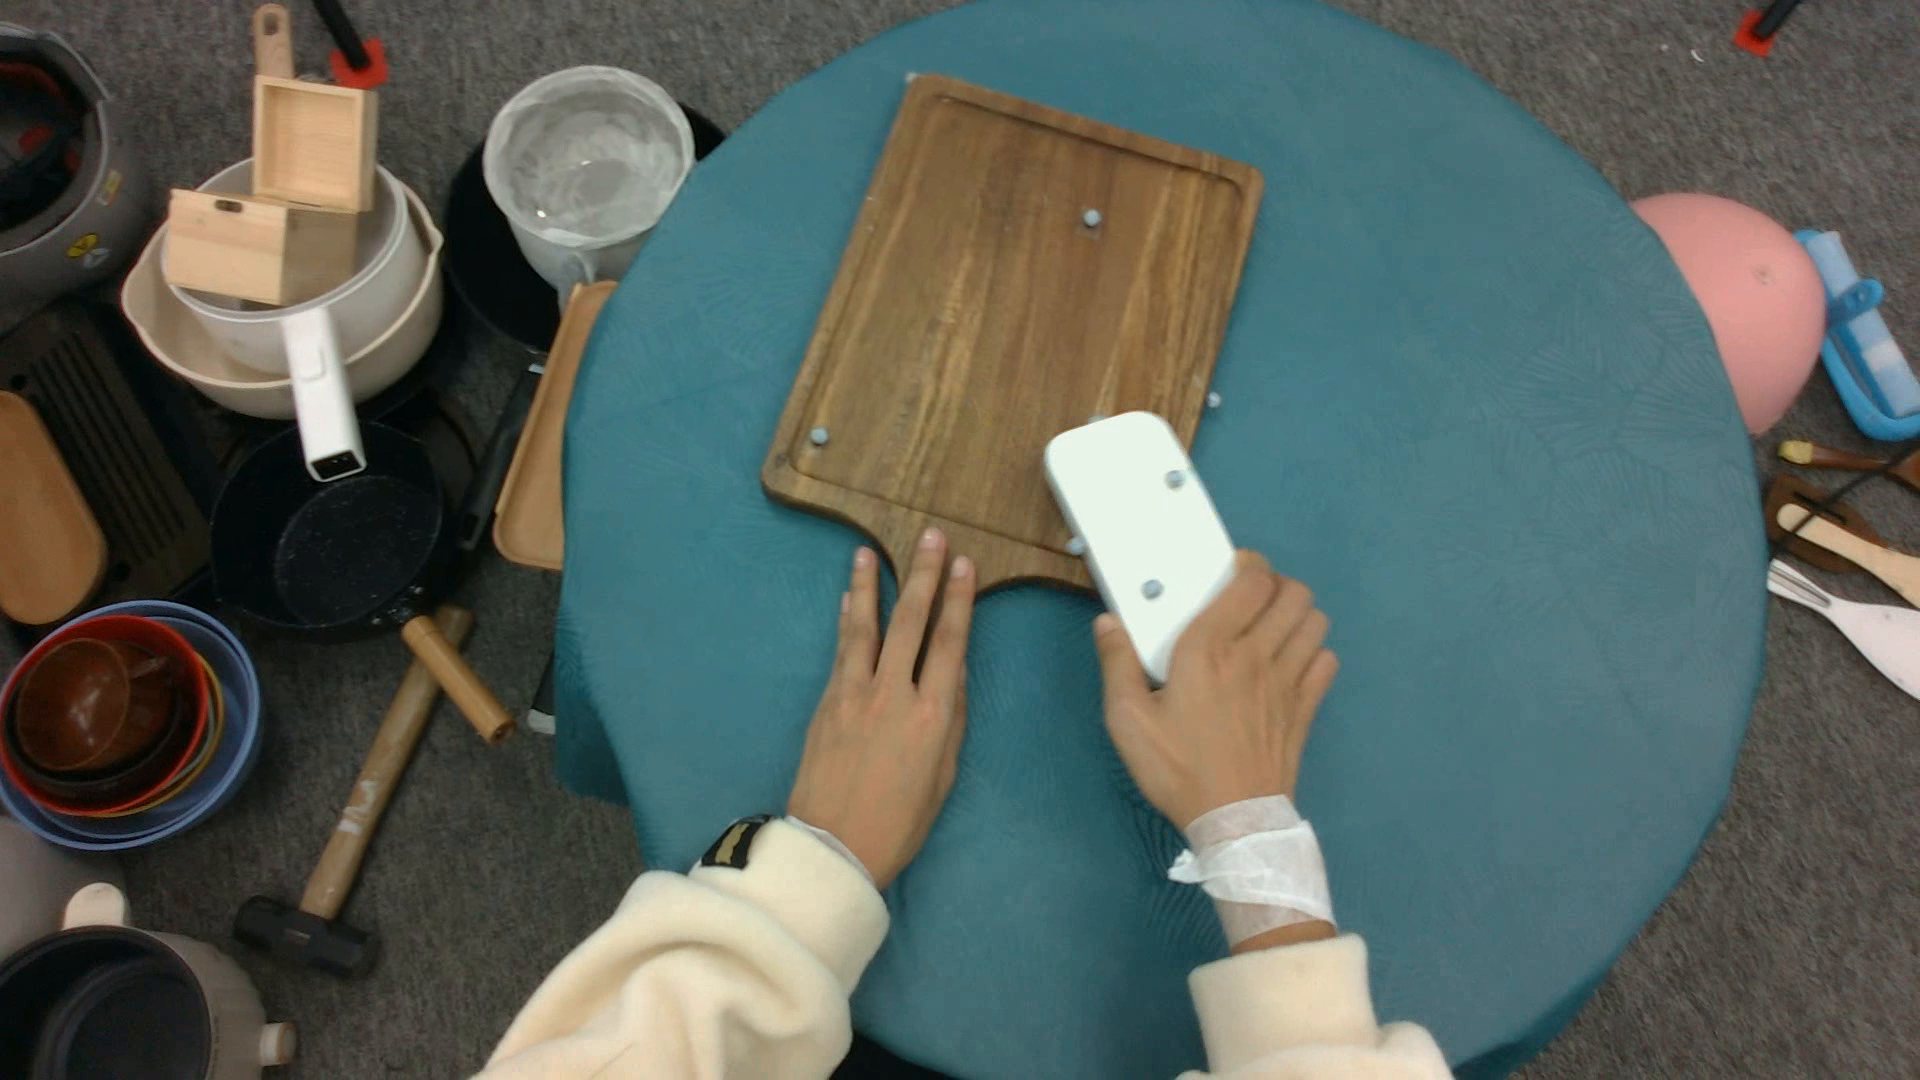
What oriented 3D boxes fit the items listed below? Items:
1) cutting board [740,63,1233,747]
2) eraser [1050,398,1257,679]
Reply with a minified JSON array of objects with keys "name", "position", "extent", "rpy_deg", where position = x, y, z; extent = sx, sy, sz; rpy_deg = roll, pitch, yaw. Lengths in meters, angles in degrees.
[{"name":"cutting board","position":[0.006,-0.070,0.679],"extent":[0.201,0.023,0.353],"rpy_deg":[16,71,2]},{"name":"eraser","position":[0.086,-0.002,0.634],"extent":[0.063,0.034,0.131],"rpy_deg":[-14,71,-14]}]
